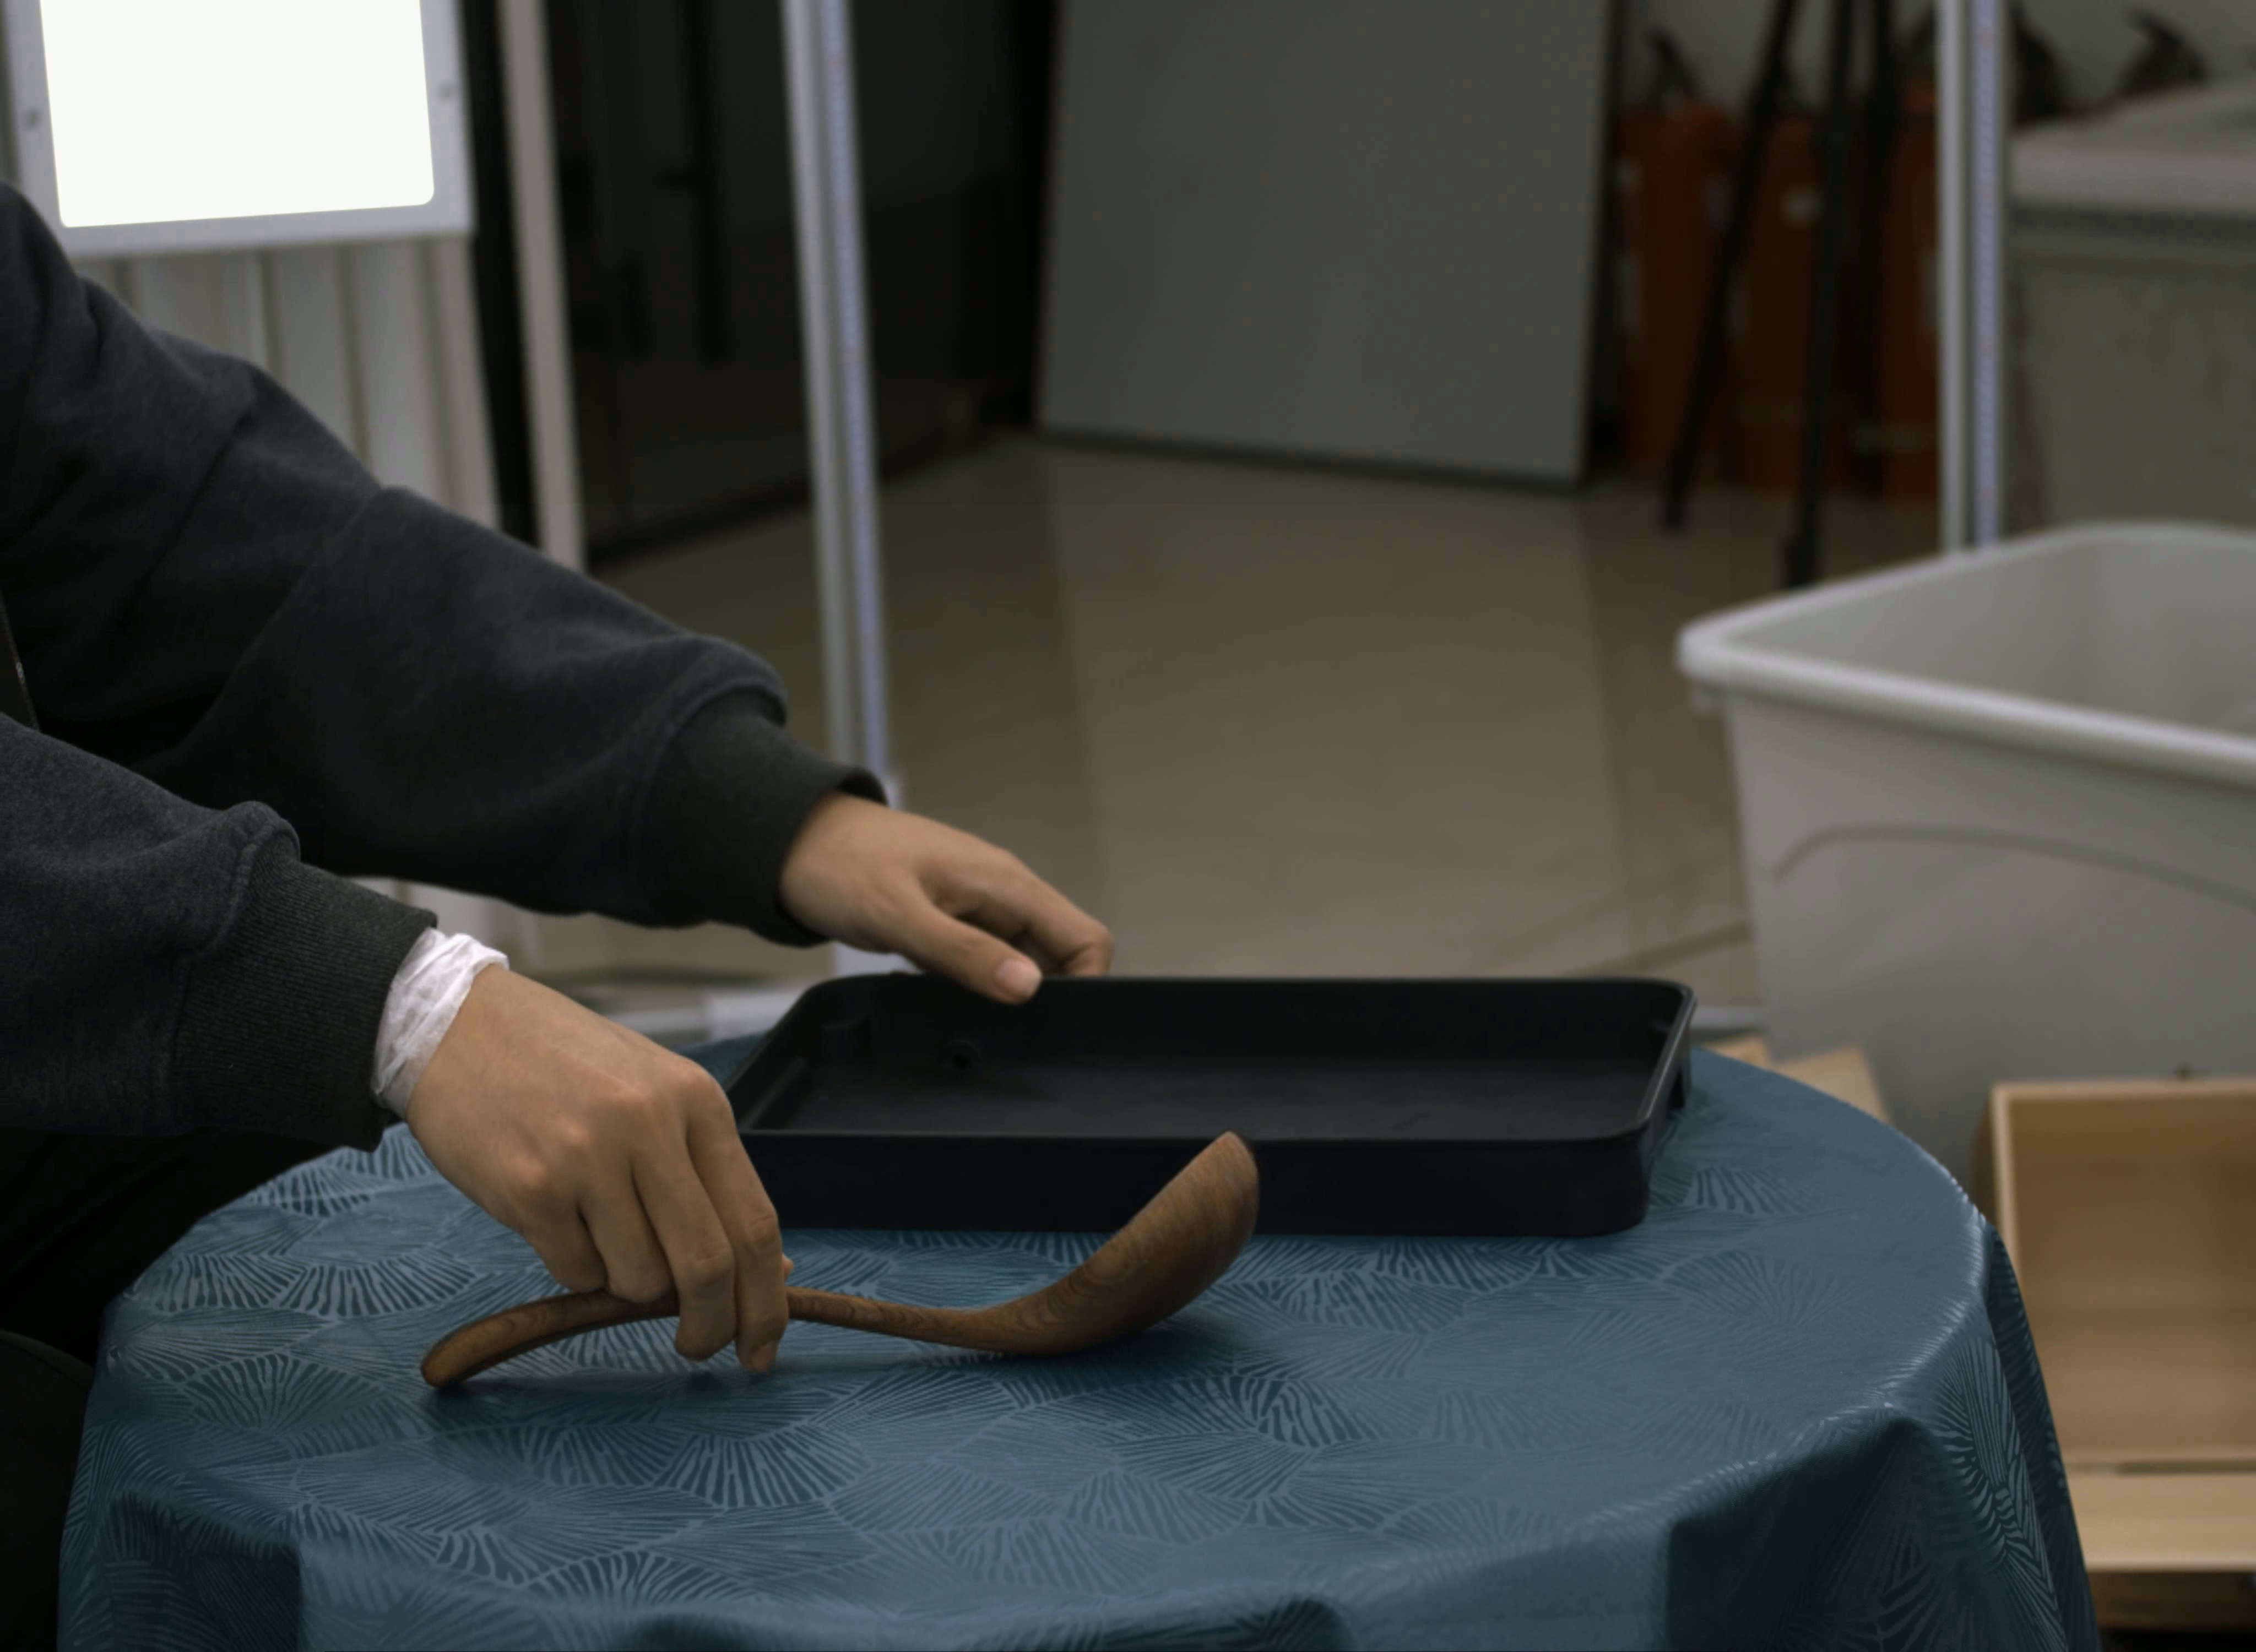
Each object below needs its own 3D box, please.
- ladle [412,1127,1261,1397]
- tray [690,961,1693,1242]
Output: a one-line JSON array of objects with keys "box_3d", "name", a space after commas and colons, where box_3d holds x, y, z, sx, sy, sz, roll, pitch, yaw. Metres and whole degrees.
[{"box_3d": [-0.087, 0.131, 1.620, 0.257, 0.066, 0.076, -4, -13, 3], "name": "ladle"}, {"box_3d": [0.025, 0.090, 1.802, 0.316, 0.037, 0.183, 1, 15, 14], "name": "tray"}]
